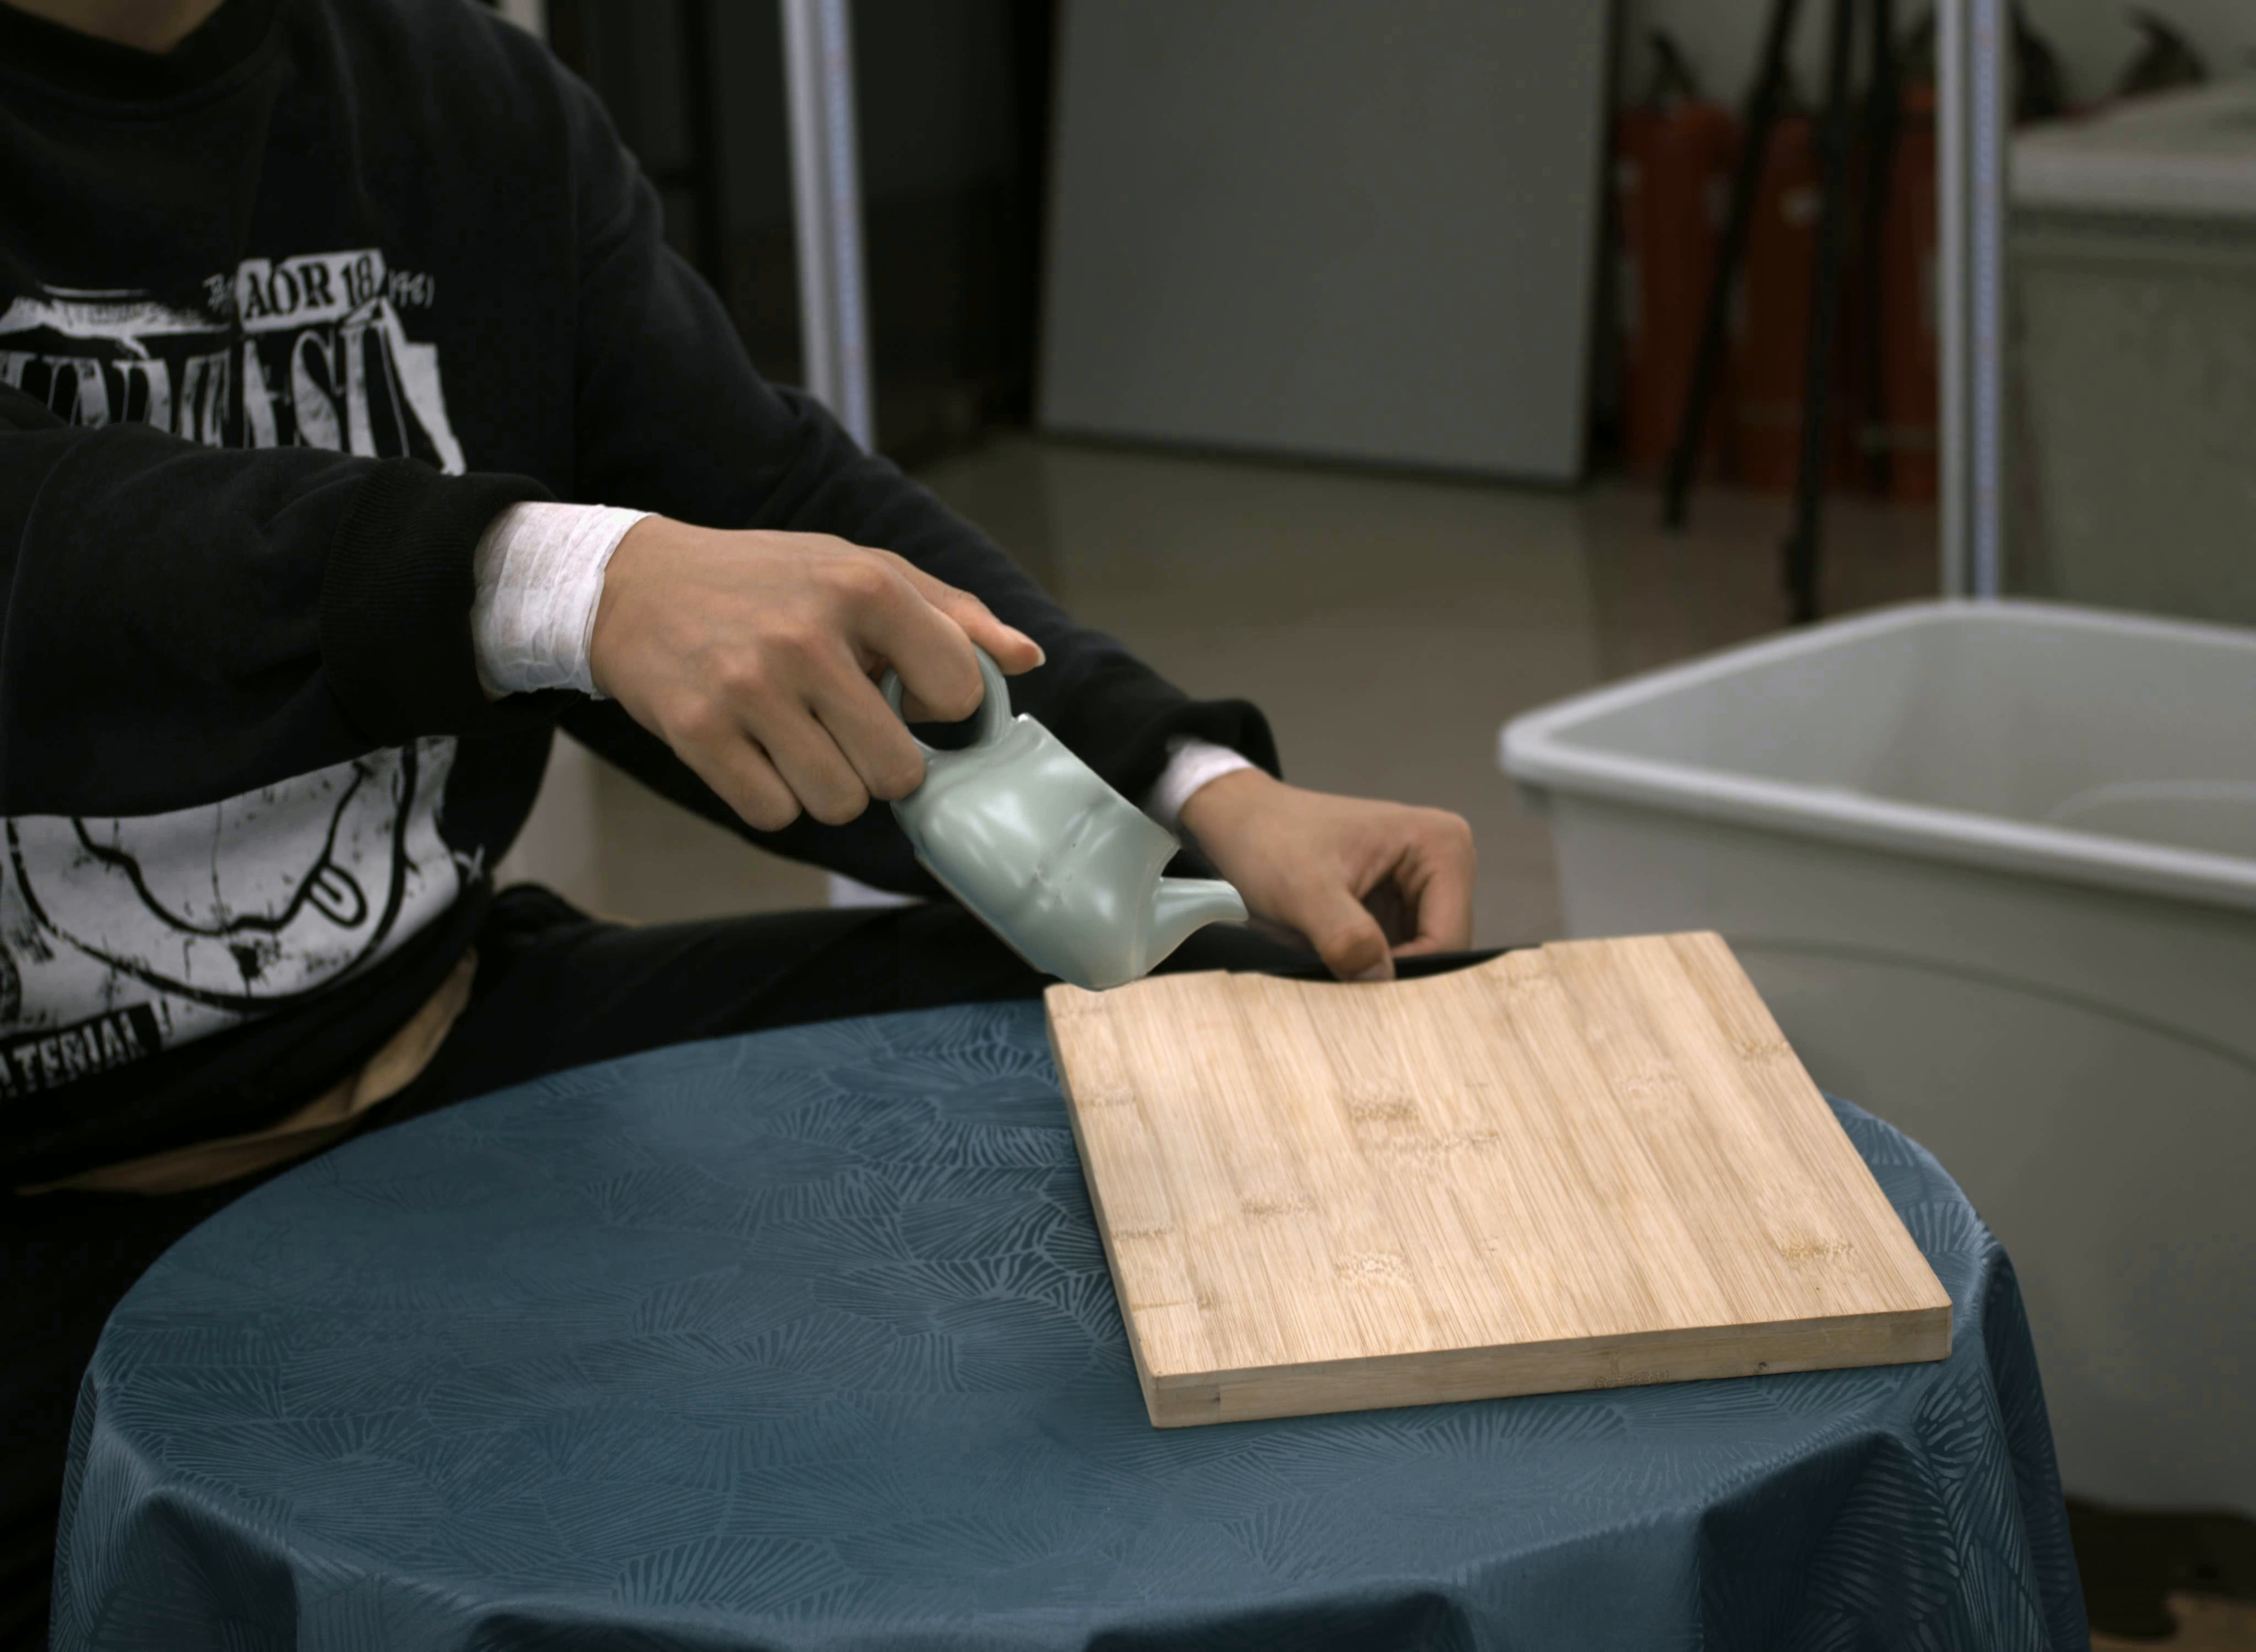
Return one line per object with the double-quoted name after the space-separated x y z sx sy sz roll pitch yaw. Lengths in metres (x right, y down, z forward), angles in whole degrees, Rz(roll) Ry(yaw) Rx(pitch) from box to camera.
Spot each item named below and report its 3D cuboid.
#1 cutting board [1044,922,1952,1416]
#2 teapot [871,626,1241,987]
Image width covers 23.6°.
0.106 0.104 1.726 0.247 0.024 0.350 -5 18 -5 "cutting board"
-0.031 0.000 1.639 0.061 0.136 0.097 -47 15 0 "teapot"
